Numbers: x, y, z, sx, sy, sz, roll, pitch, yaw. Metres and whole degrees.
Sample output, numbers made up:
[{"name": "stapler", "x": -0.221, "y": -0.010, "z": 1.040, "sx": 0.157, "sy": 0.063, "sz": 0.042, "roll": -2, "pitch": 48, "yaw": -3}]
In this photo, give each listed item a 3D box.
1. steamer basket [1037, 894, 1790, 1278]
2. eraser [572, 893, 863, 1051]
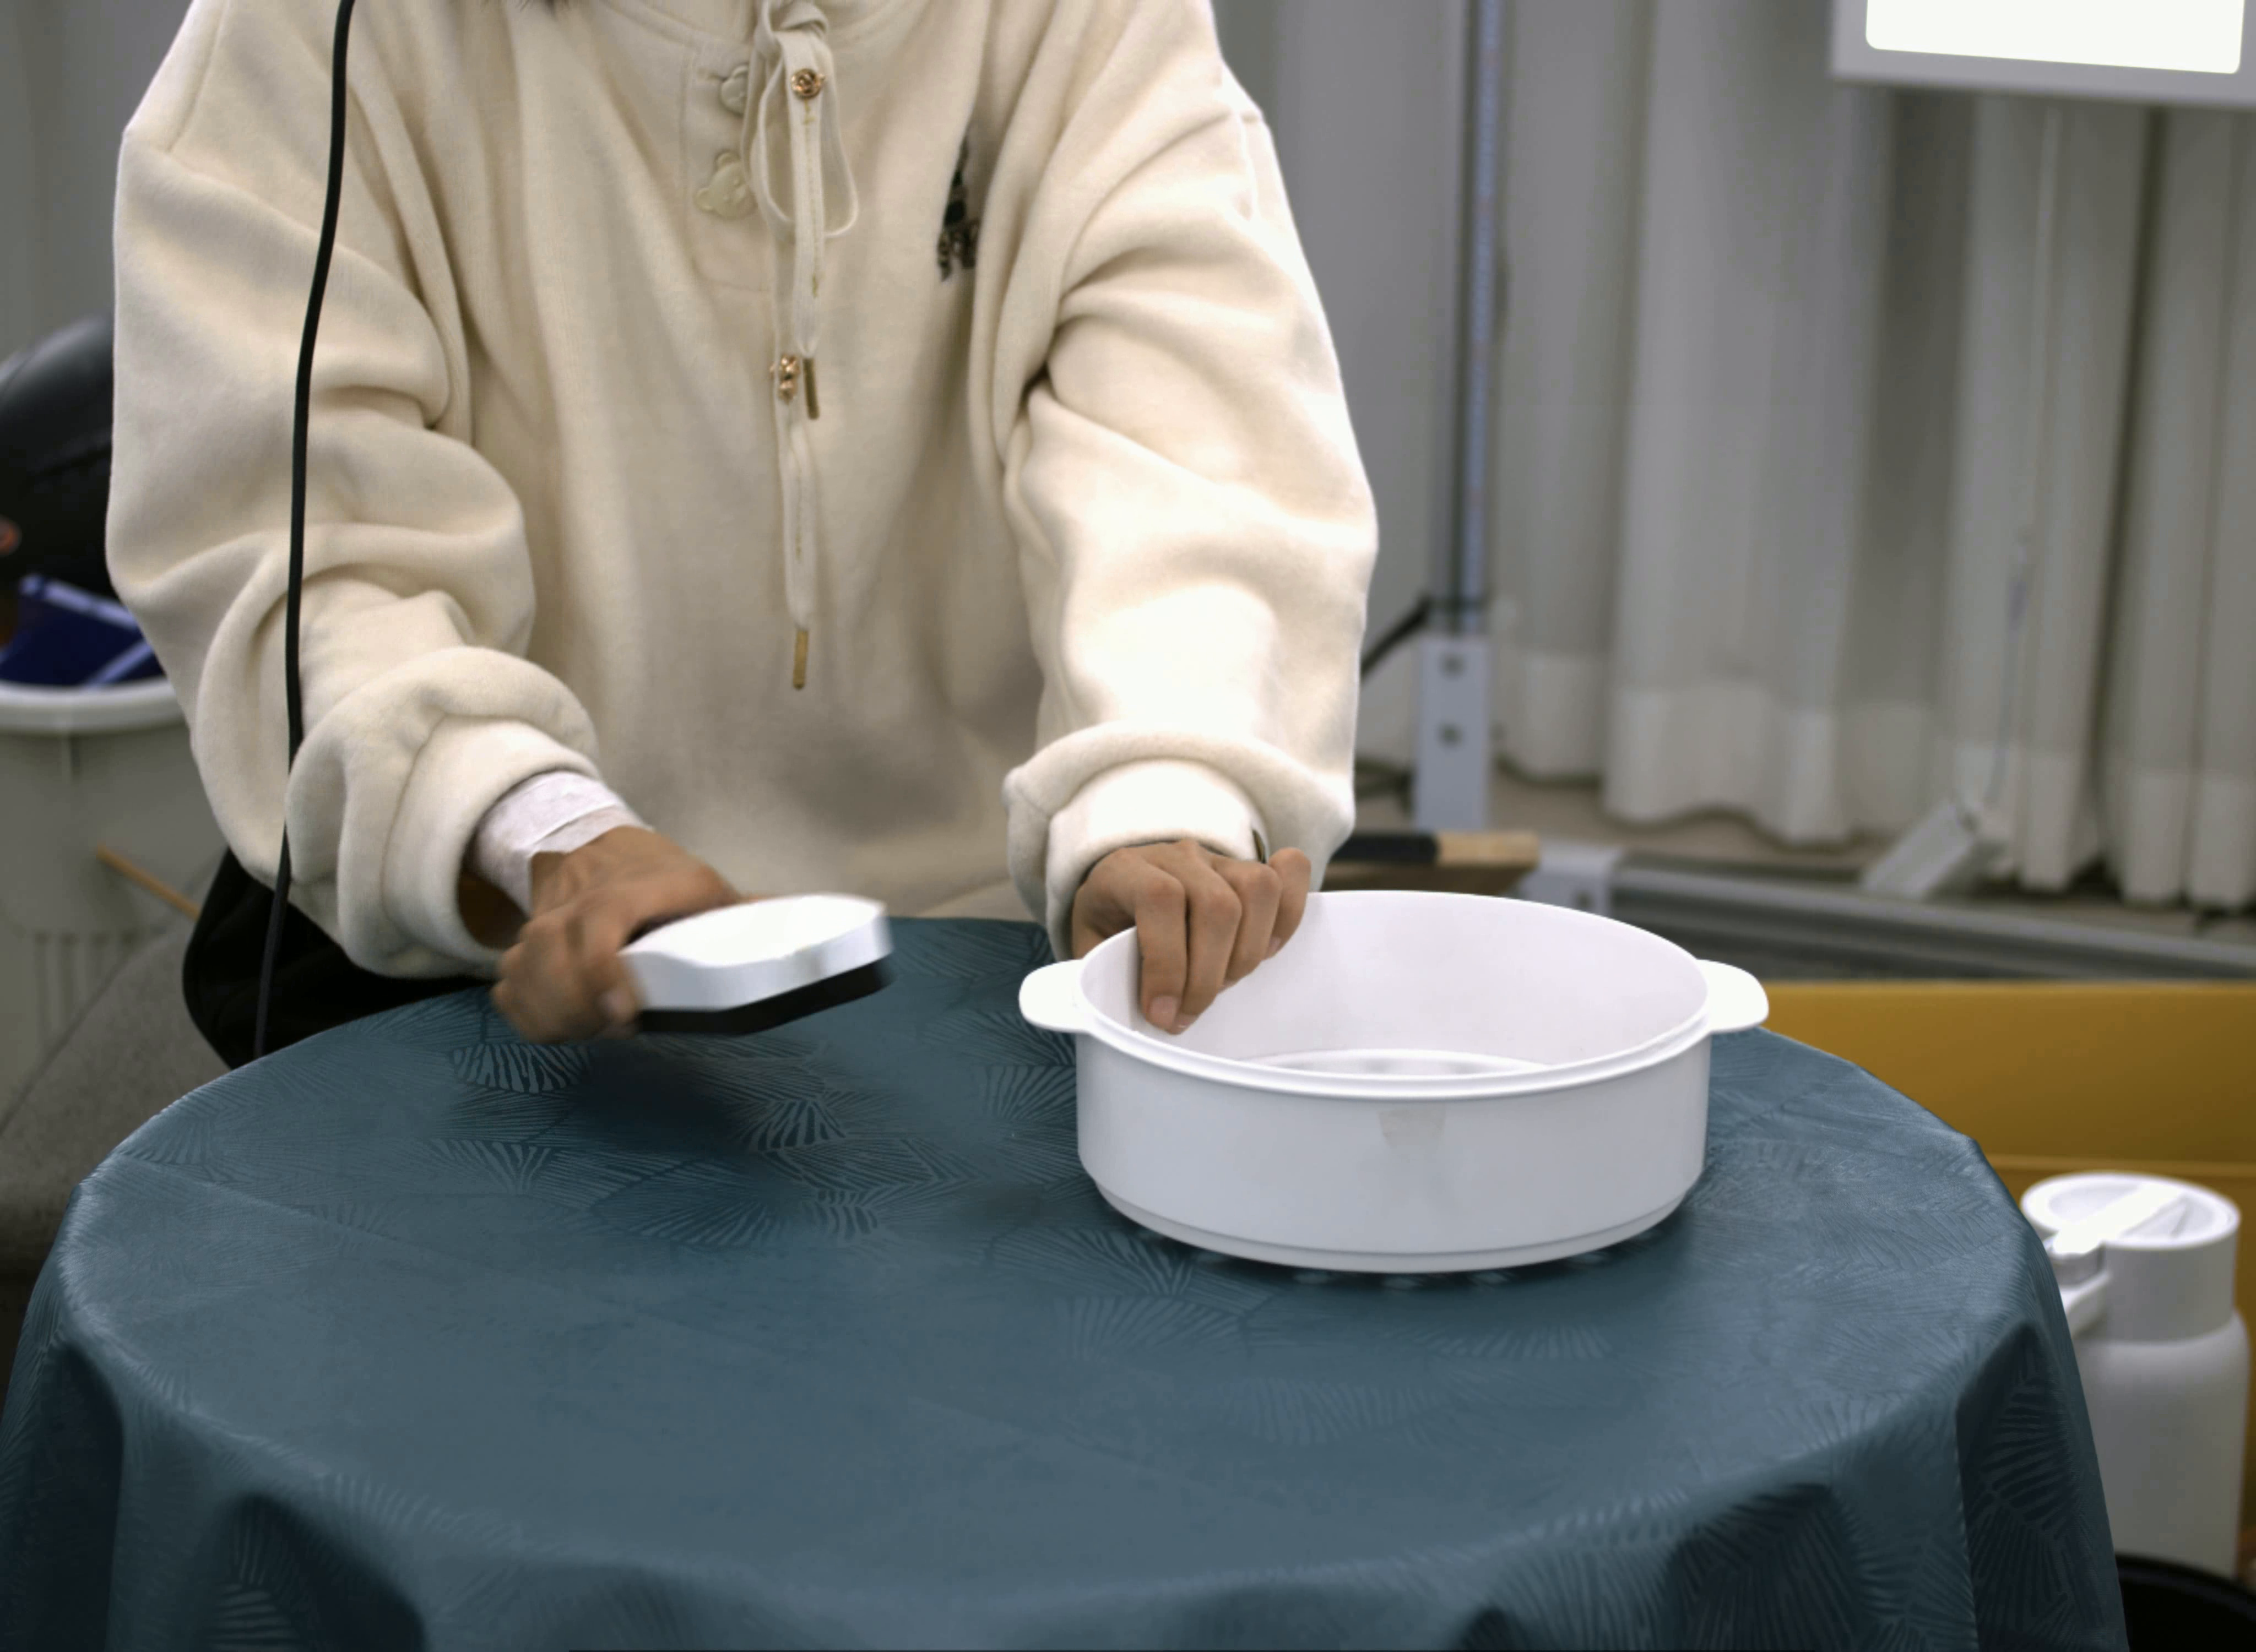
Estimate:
[{"name": "steamer basket", "x": 0.087, "y": 0.079, "z": 1.619, "sx": 0.230, "sy": 0.070, "sz": 0.201, "roll": 1, "pitch": 15, "yaw": -1}, {"name": "eraser", "x": -0.128, "y": 0.046, "z": 1.655, "sx": 0.063, "sy": 0.035, "sz": 0.130, "roll": -17, "pitch": 7, "yaw": -22}]
